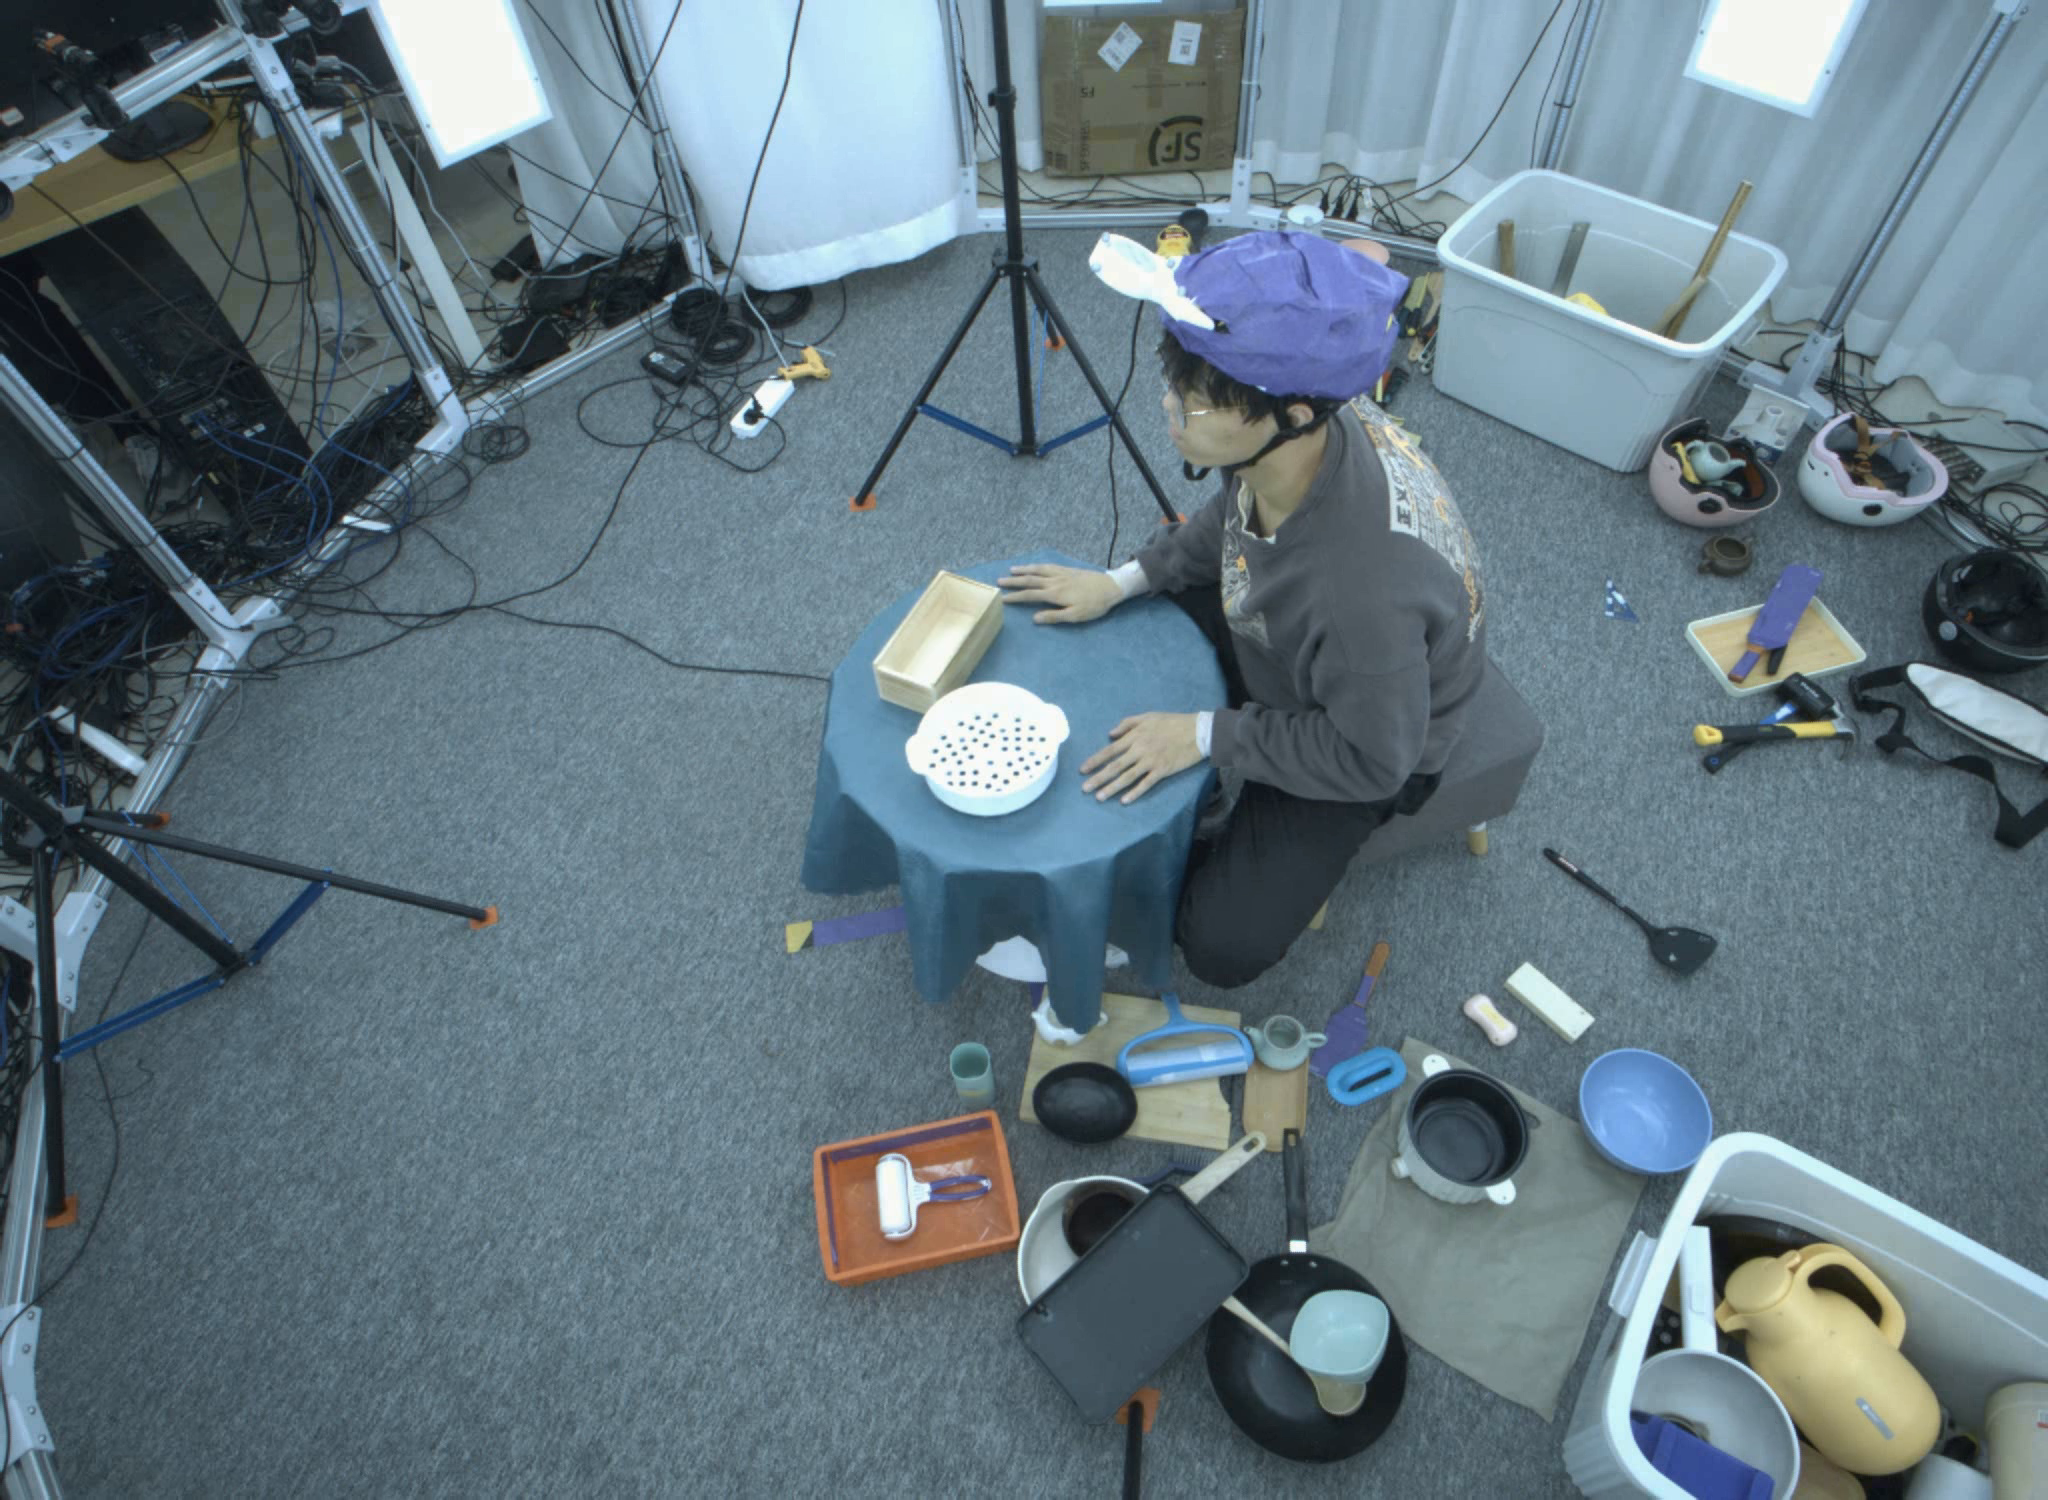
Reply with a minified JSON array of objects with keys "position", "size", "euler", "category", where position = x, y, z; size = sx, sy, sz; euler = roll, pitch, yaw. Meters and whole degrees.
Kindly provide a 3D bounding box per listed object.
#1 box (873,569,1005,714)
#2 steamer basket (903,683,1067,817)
[{"position":[-0.126,-0.163,1.856],"size":[0.106,0.081,0.211],"euler":[21,58,16],"category":"box"},{"position":[-0.054,0.002,1.743],"size":[0.232,0.070,0.198],"euler":[-12,55,-8],"category":"steamer basket"}]
